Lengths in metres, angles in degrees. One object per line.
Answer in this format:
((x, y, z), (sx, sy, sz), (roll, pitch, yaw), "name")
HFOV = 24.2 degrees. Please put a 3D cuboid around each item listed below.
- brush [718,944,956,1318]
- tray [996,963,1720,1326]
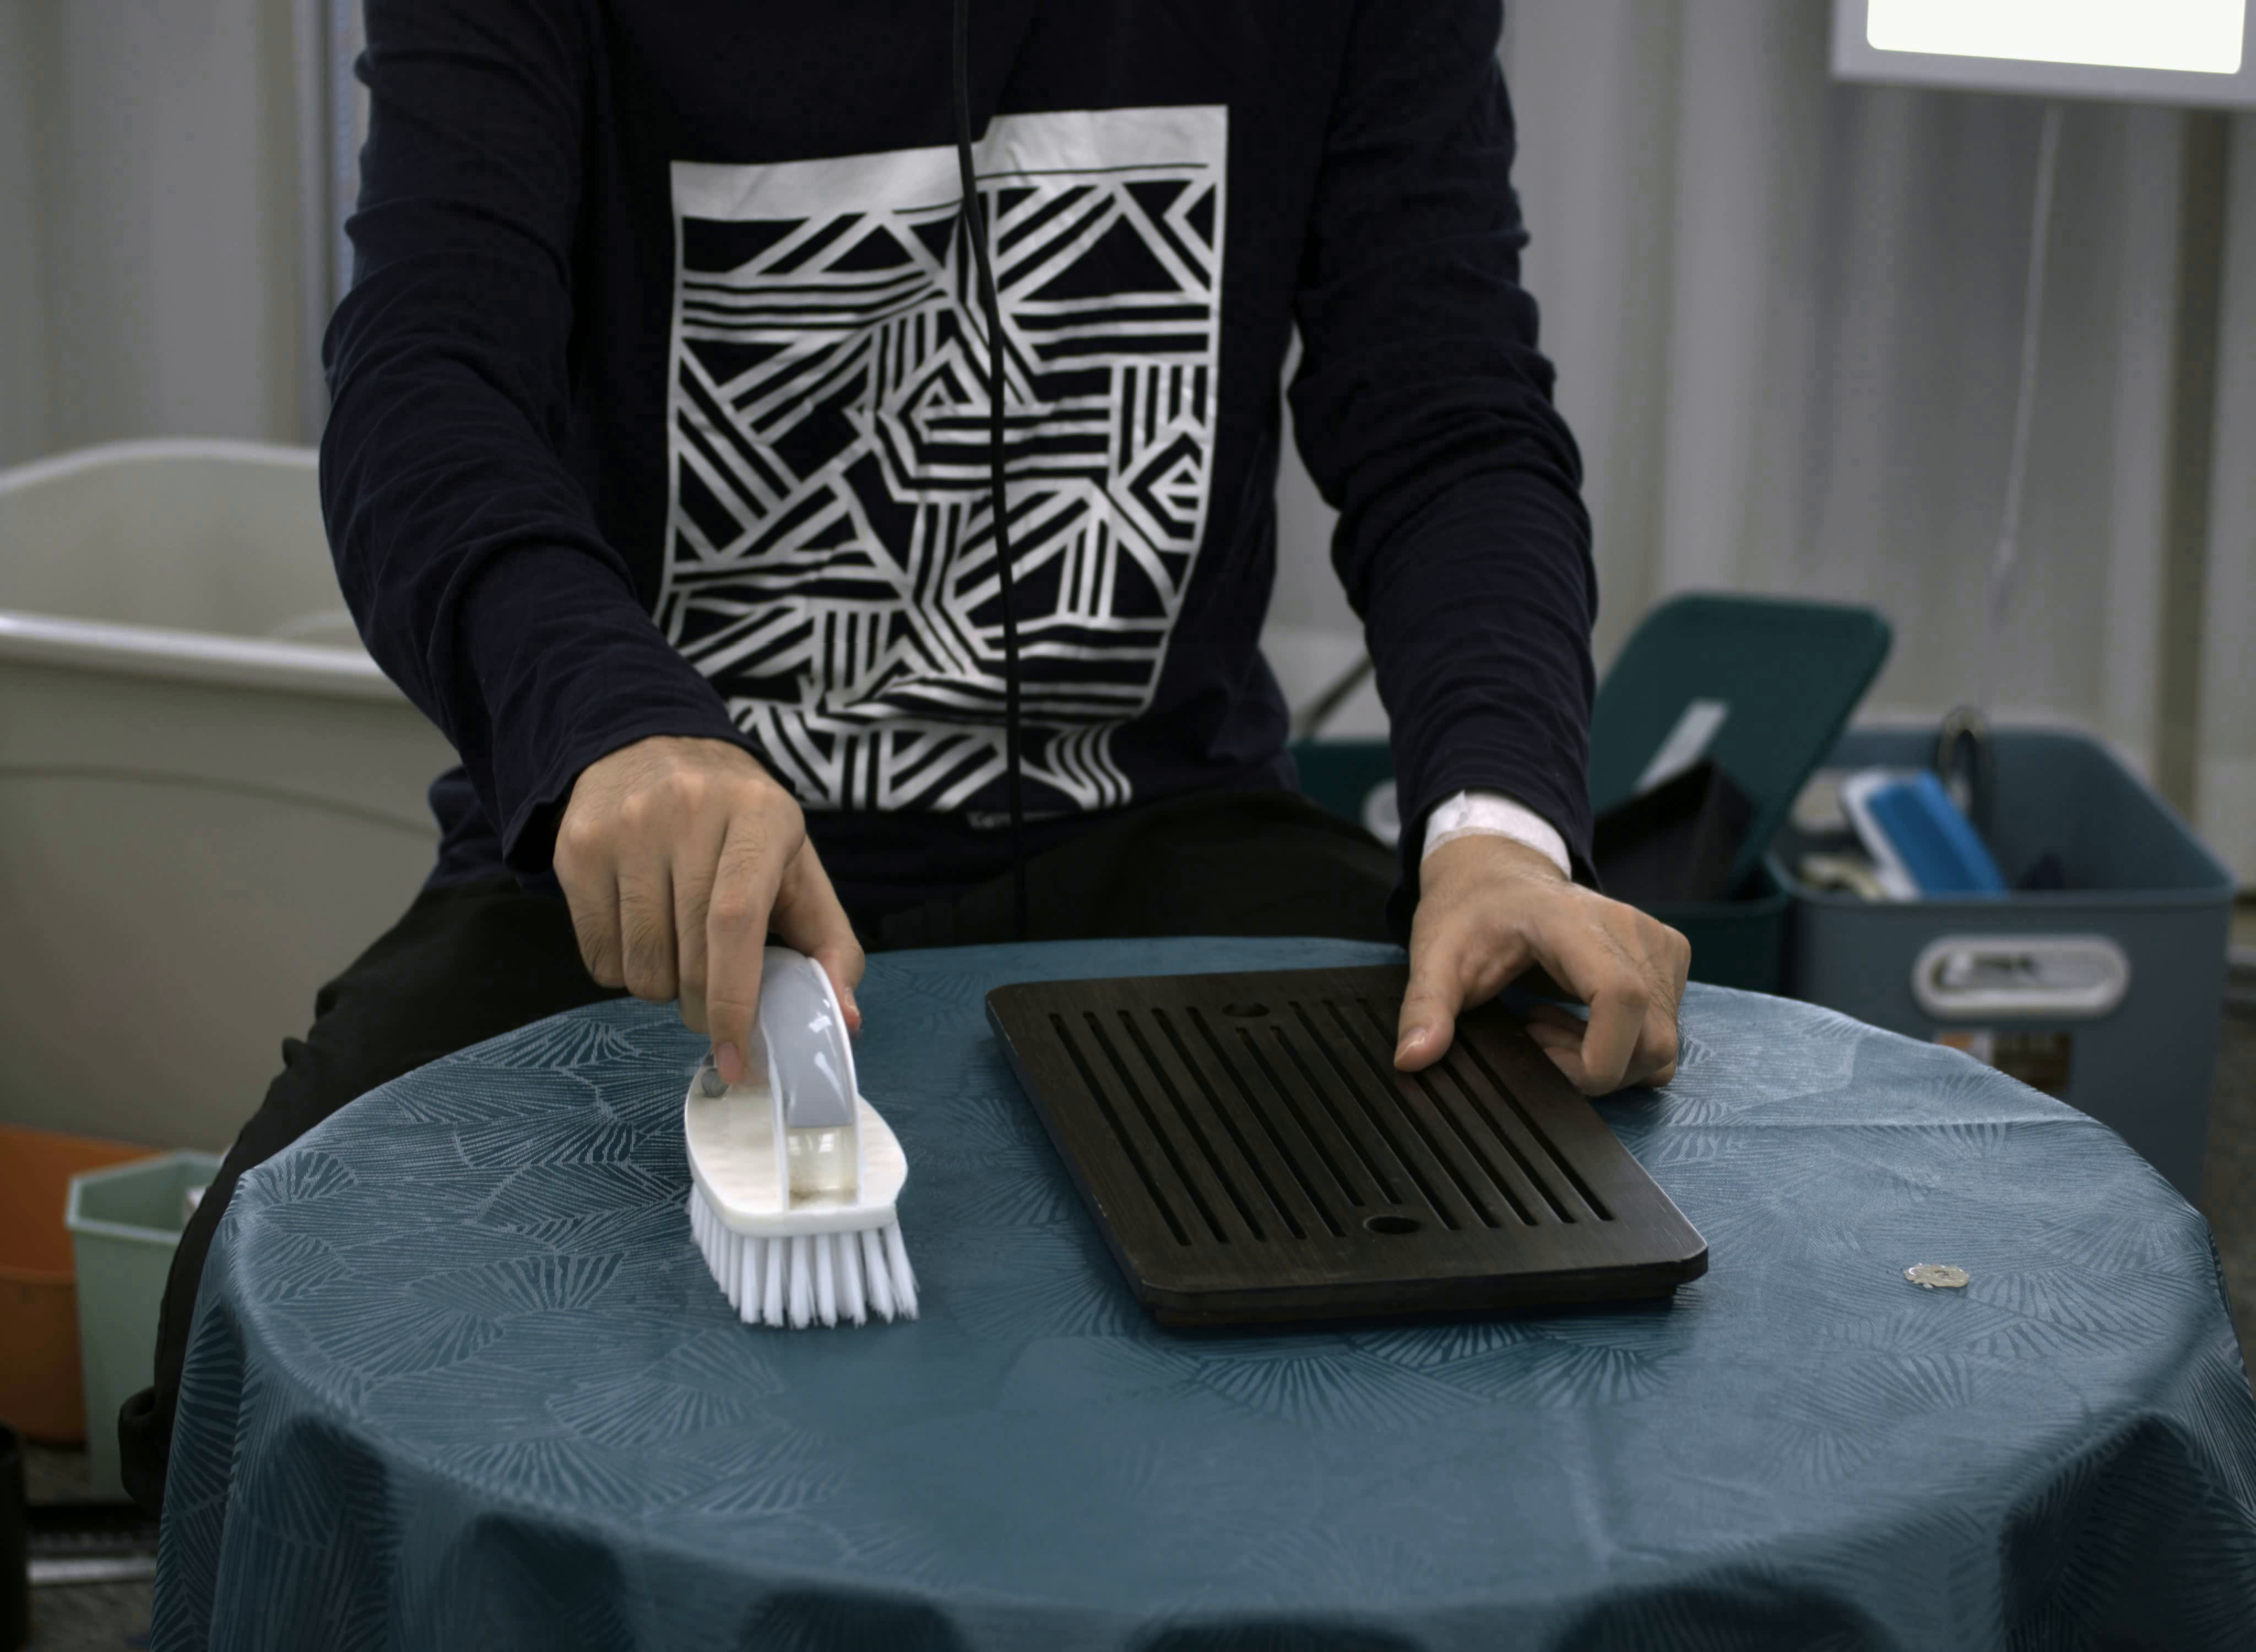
((-0.095, 0.080, 1.576), (0.061, 0.095, 0.174), (-5, 16, -14), "brush")
((0.064, 0.097, 1.652), (0.170, 0.019, 0.303), (-2, 15, -10), "tray")
